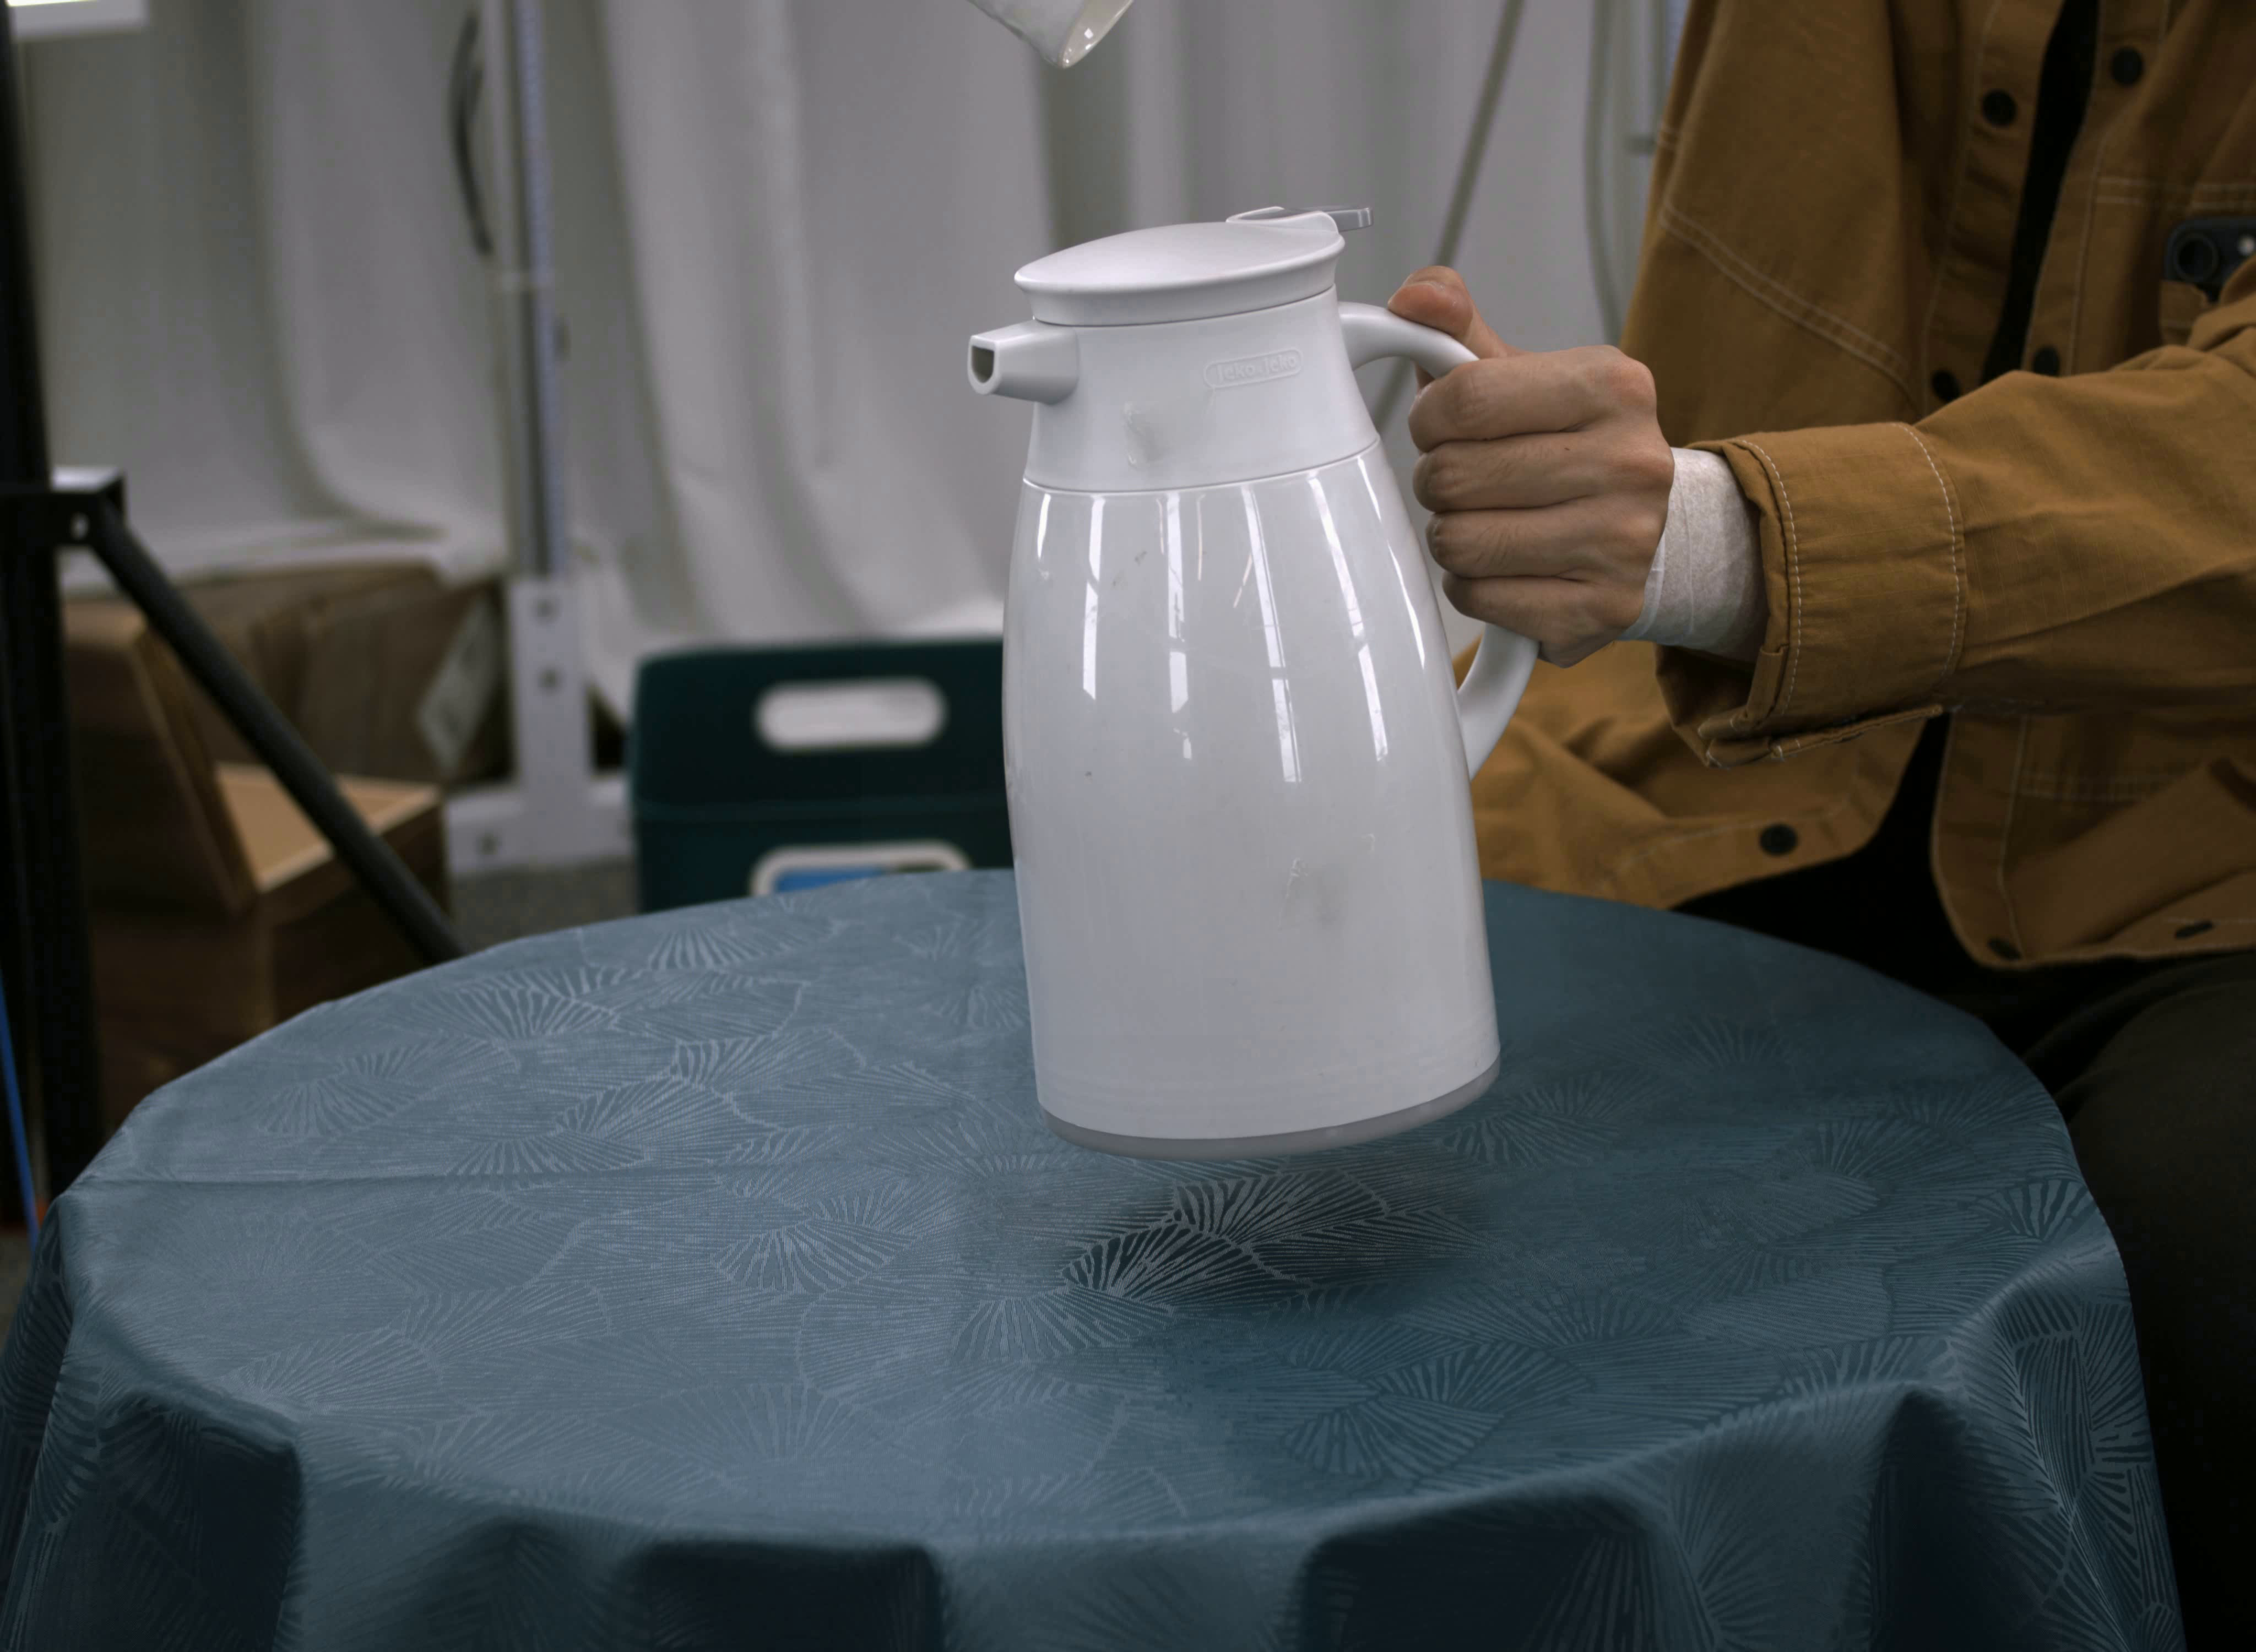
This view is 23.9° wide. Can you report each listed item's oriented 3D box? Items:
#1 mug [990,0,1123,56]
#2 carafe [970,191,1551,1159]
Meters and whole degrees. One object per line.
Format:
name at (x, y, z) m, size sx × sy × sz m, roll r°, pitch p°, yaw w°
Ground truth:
mug at (-0.025, -0.279, 1.436) m, size 0.102 × 0.085 × 0.117 m, roll 36°, pitch 50°, yaw 4°
carafe at (0.044, -0.049, 1.486) m, size 0.164 × 0.249 × 0.135 m, roll -12°, pitch 13°, yaw -23°
